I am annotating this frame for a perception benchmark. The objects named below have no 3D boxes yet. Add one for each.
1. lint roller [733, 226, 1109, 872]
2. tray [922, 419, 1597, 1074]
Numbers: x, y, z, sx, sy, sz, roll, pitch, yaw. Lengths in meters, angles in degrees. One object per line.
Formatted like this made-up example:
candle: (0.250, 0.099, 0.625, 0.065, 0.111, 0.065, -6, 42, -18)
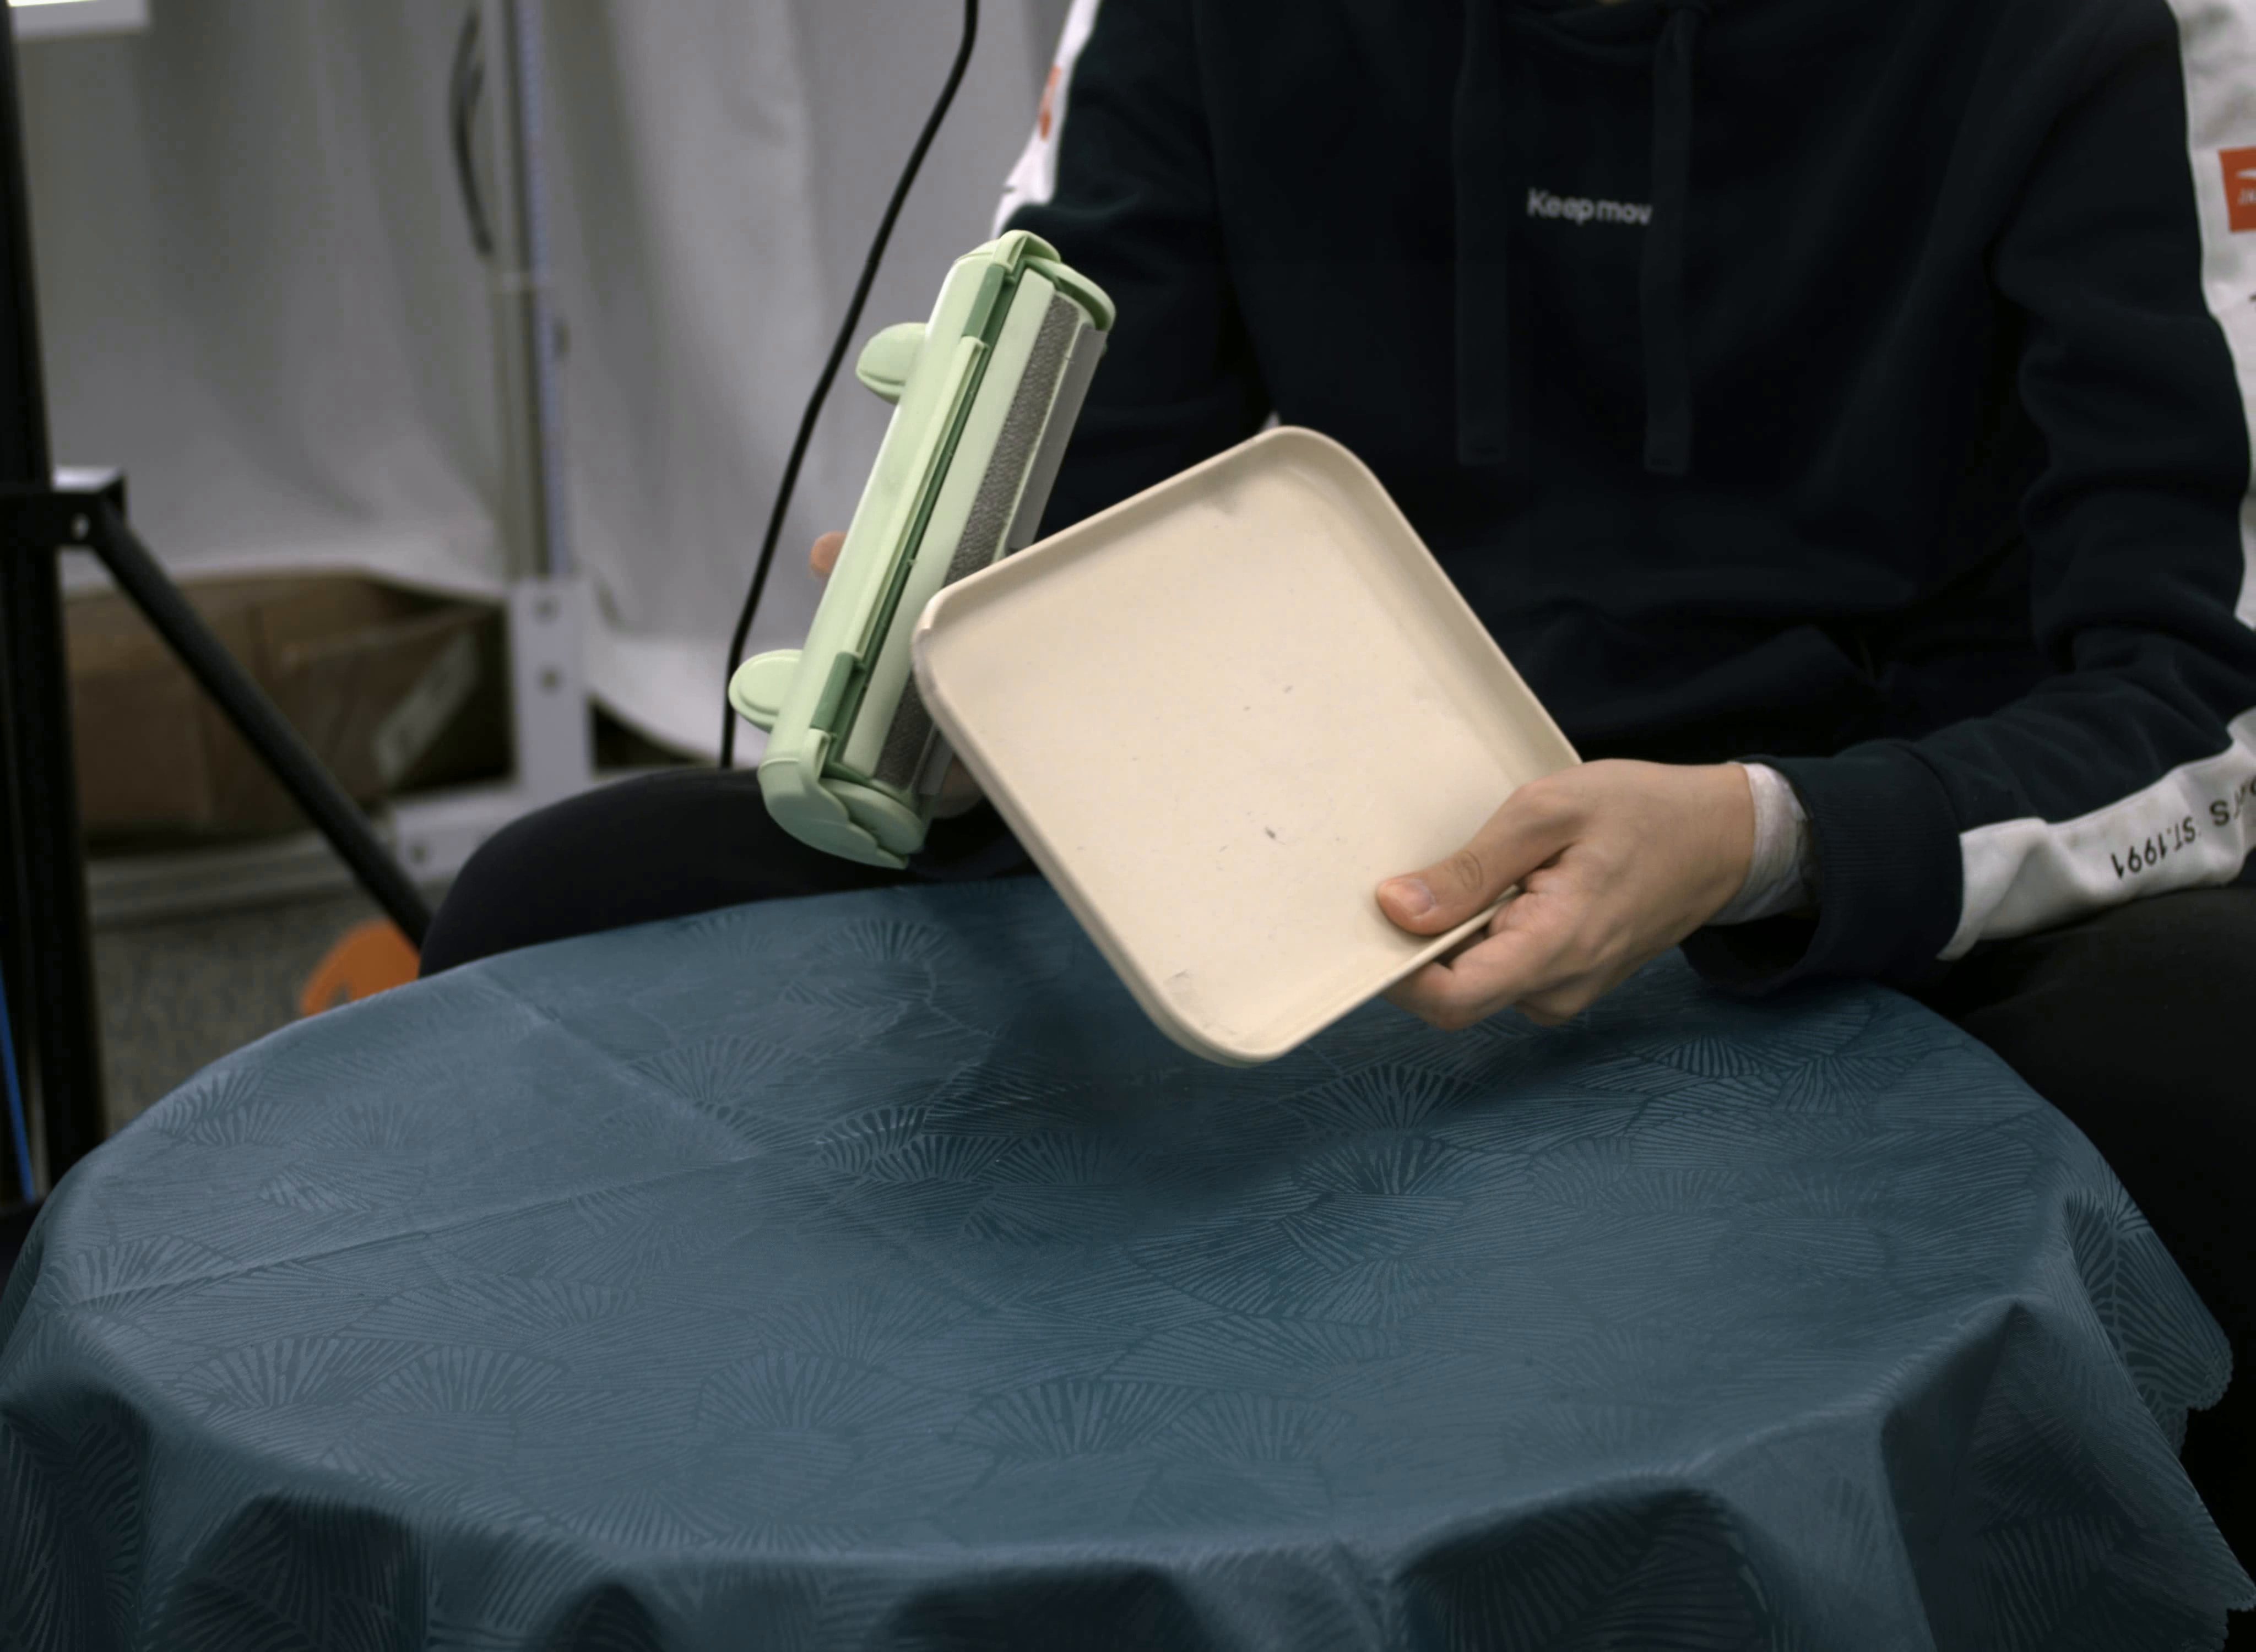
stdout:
lint roller: (-0.068, -0.069, 1.683, 0.082, 0.199, 0.183, 18, -19, 2)
tray: (0.042, -0.026, 1.614, 0.018, 0.172, 0.235, -40, -7, 40)
